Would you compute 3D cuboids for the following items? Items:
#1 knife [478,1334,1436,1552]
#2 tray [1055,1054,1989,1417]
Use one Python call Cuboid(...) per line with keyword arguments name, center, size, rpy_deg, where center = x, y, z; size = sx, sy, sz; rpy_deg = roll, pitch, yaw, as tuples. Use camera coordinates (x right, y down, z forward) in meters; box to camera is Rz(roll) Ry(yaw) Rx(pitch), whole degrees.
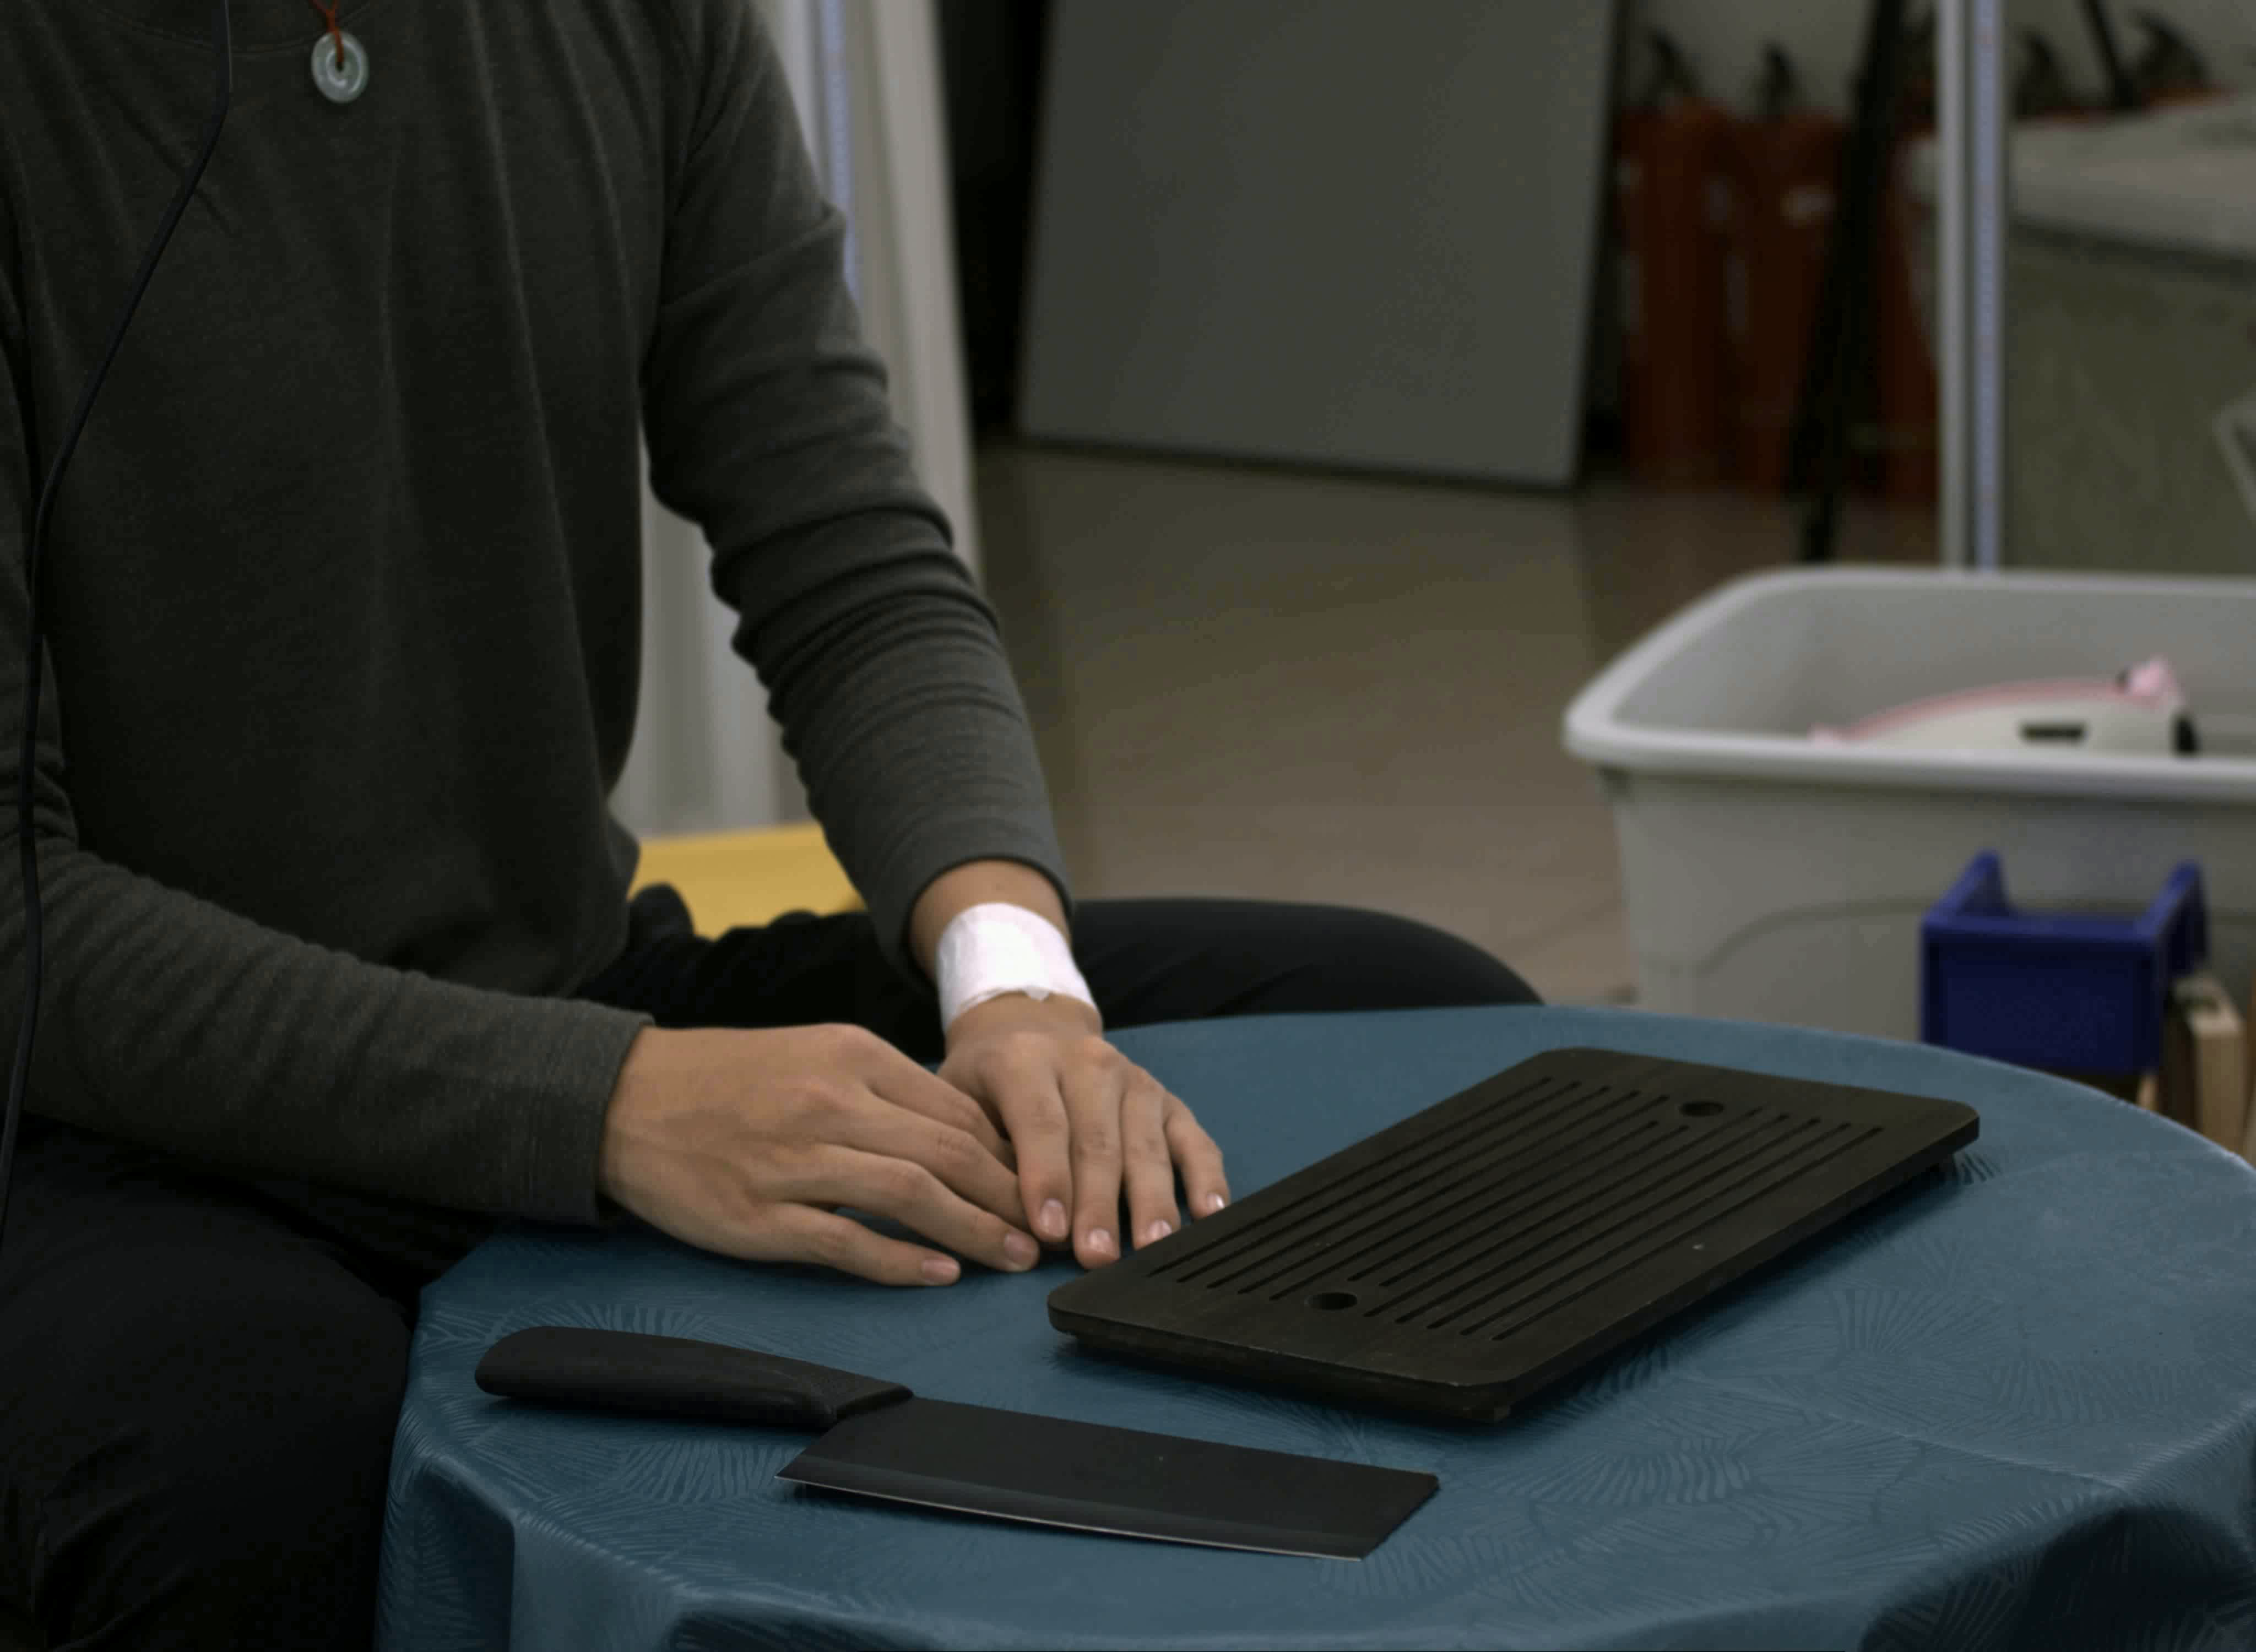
Cuboid(name="knife", center=(-0.057, 0.176, 1.537), size=(0.303, 0.021, 0.079), rpy_deg=(6, 18, 31))
Cuboid(name="tray", center=(0.129, 0.125, 1.682), size=(0.171, 0.019, 0.300), rpy_deg=(5, 16, 38))
